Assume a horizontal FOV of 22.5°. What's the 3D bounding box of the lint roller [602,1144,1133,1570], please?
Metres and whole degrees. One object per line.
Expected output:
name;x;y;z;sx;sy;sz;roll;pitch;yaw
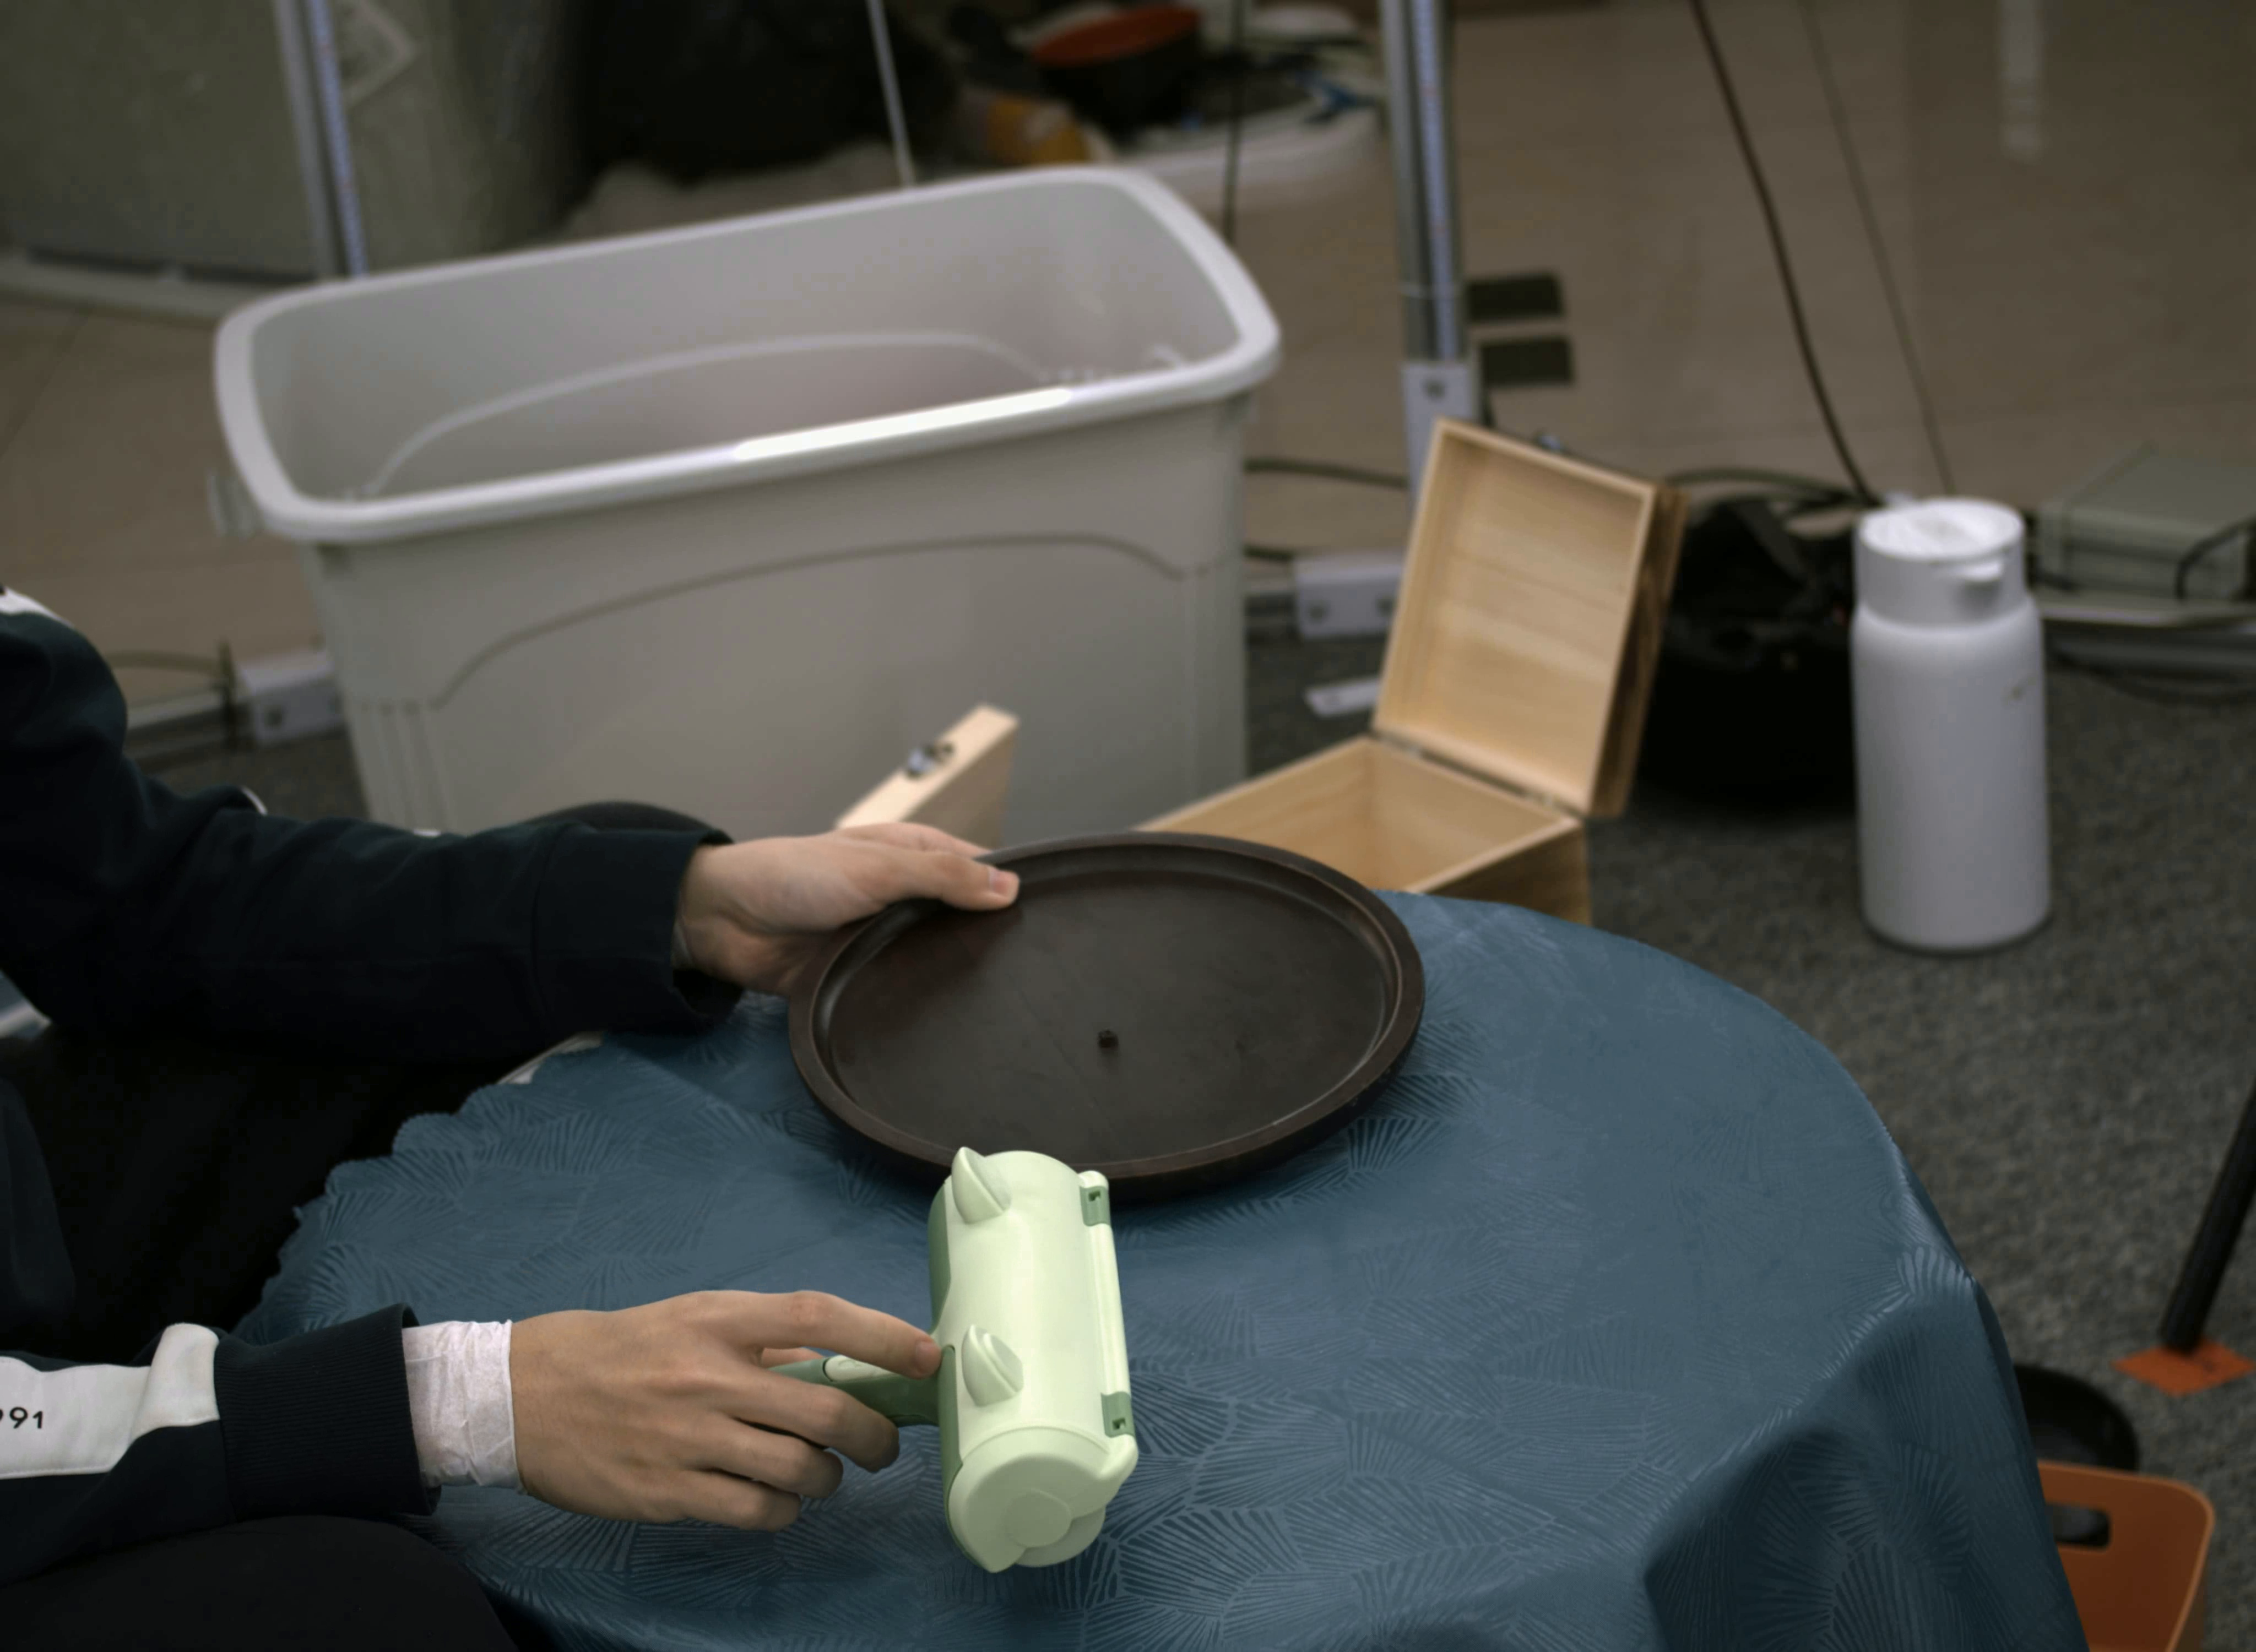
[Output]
lint roller;-0.093;0.180;1.936;0.183;0.083;0.195;-7;28;0

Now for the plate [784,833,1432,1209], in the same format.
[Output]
plate;-0.007;0.075;2.226;0.254;0.029;0.250;-3;33;2
